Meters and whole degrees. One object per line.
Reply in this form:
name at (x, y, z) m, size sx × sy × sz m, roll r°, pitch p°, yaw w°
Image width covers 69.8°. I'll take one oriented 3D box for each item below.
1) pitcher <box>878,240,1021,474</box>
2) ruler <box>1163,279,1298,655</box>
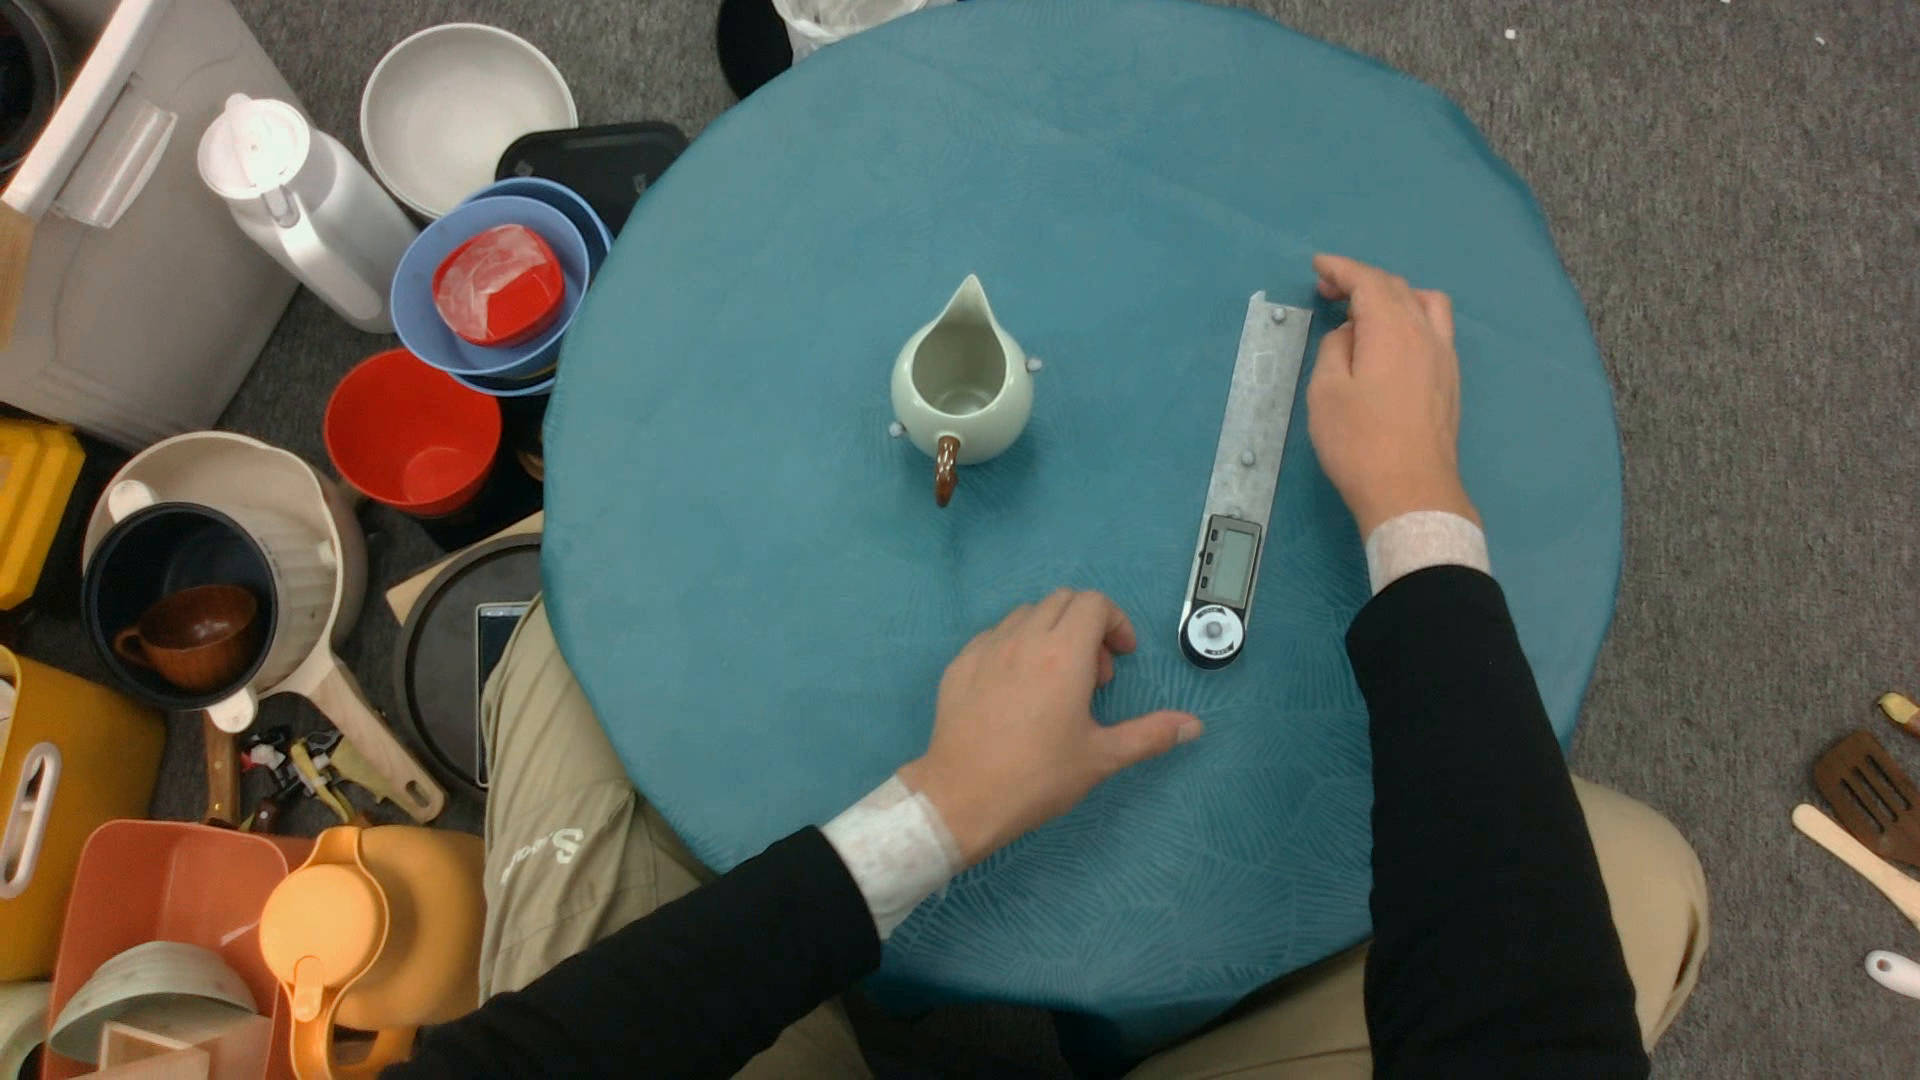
pitcher at (-0.007, -0.086, 0.735) m, size 0.076 × 0.087 × 0.119 m, roll 11°, pitch 74°, yaw 8°
ruler at (0.150, -0.044, 0.752) m, size 0.038 × 0.024 × 0.218 m, roll 15°, pitch 77°, yaw -1°
